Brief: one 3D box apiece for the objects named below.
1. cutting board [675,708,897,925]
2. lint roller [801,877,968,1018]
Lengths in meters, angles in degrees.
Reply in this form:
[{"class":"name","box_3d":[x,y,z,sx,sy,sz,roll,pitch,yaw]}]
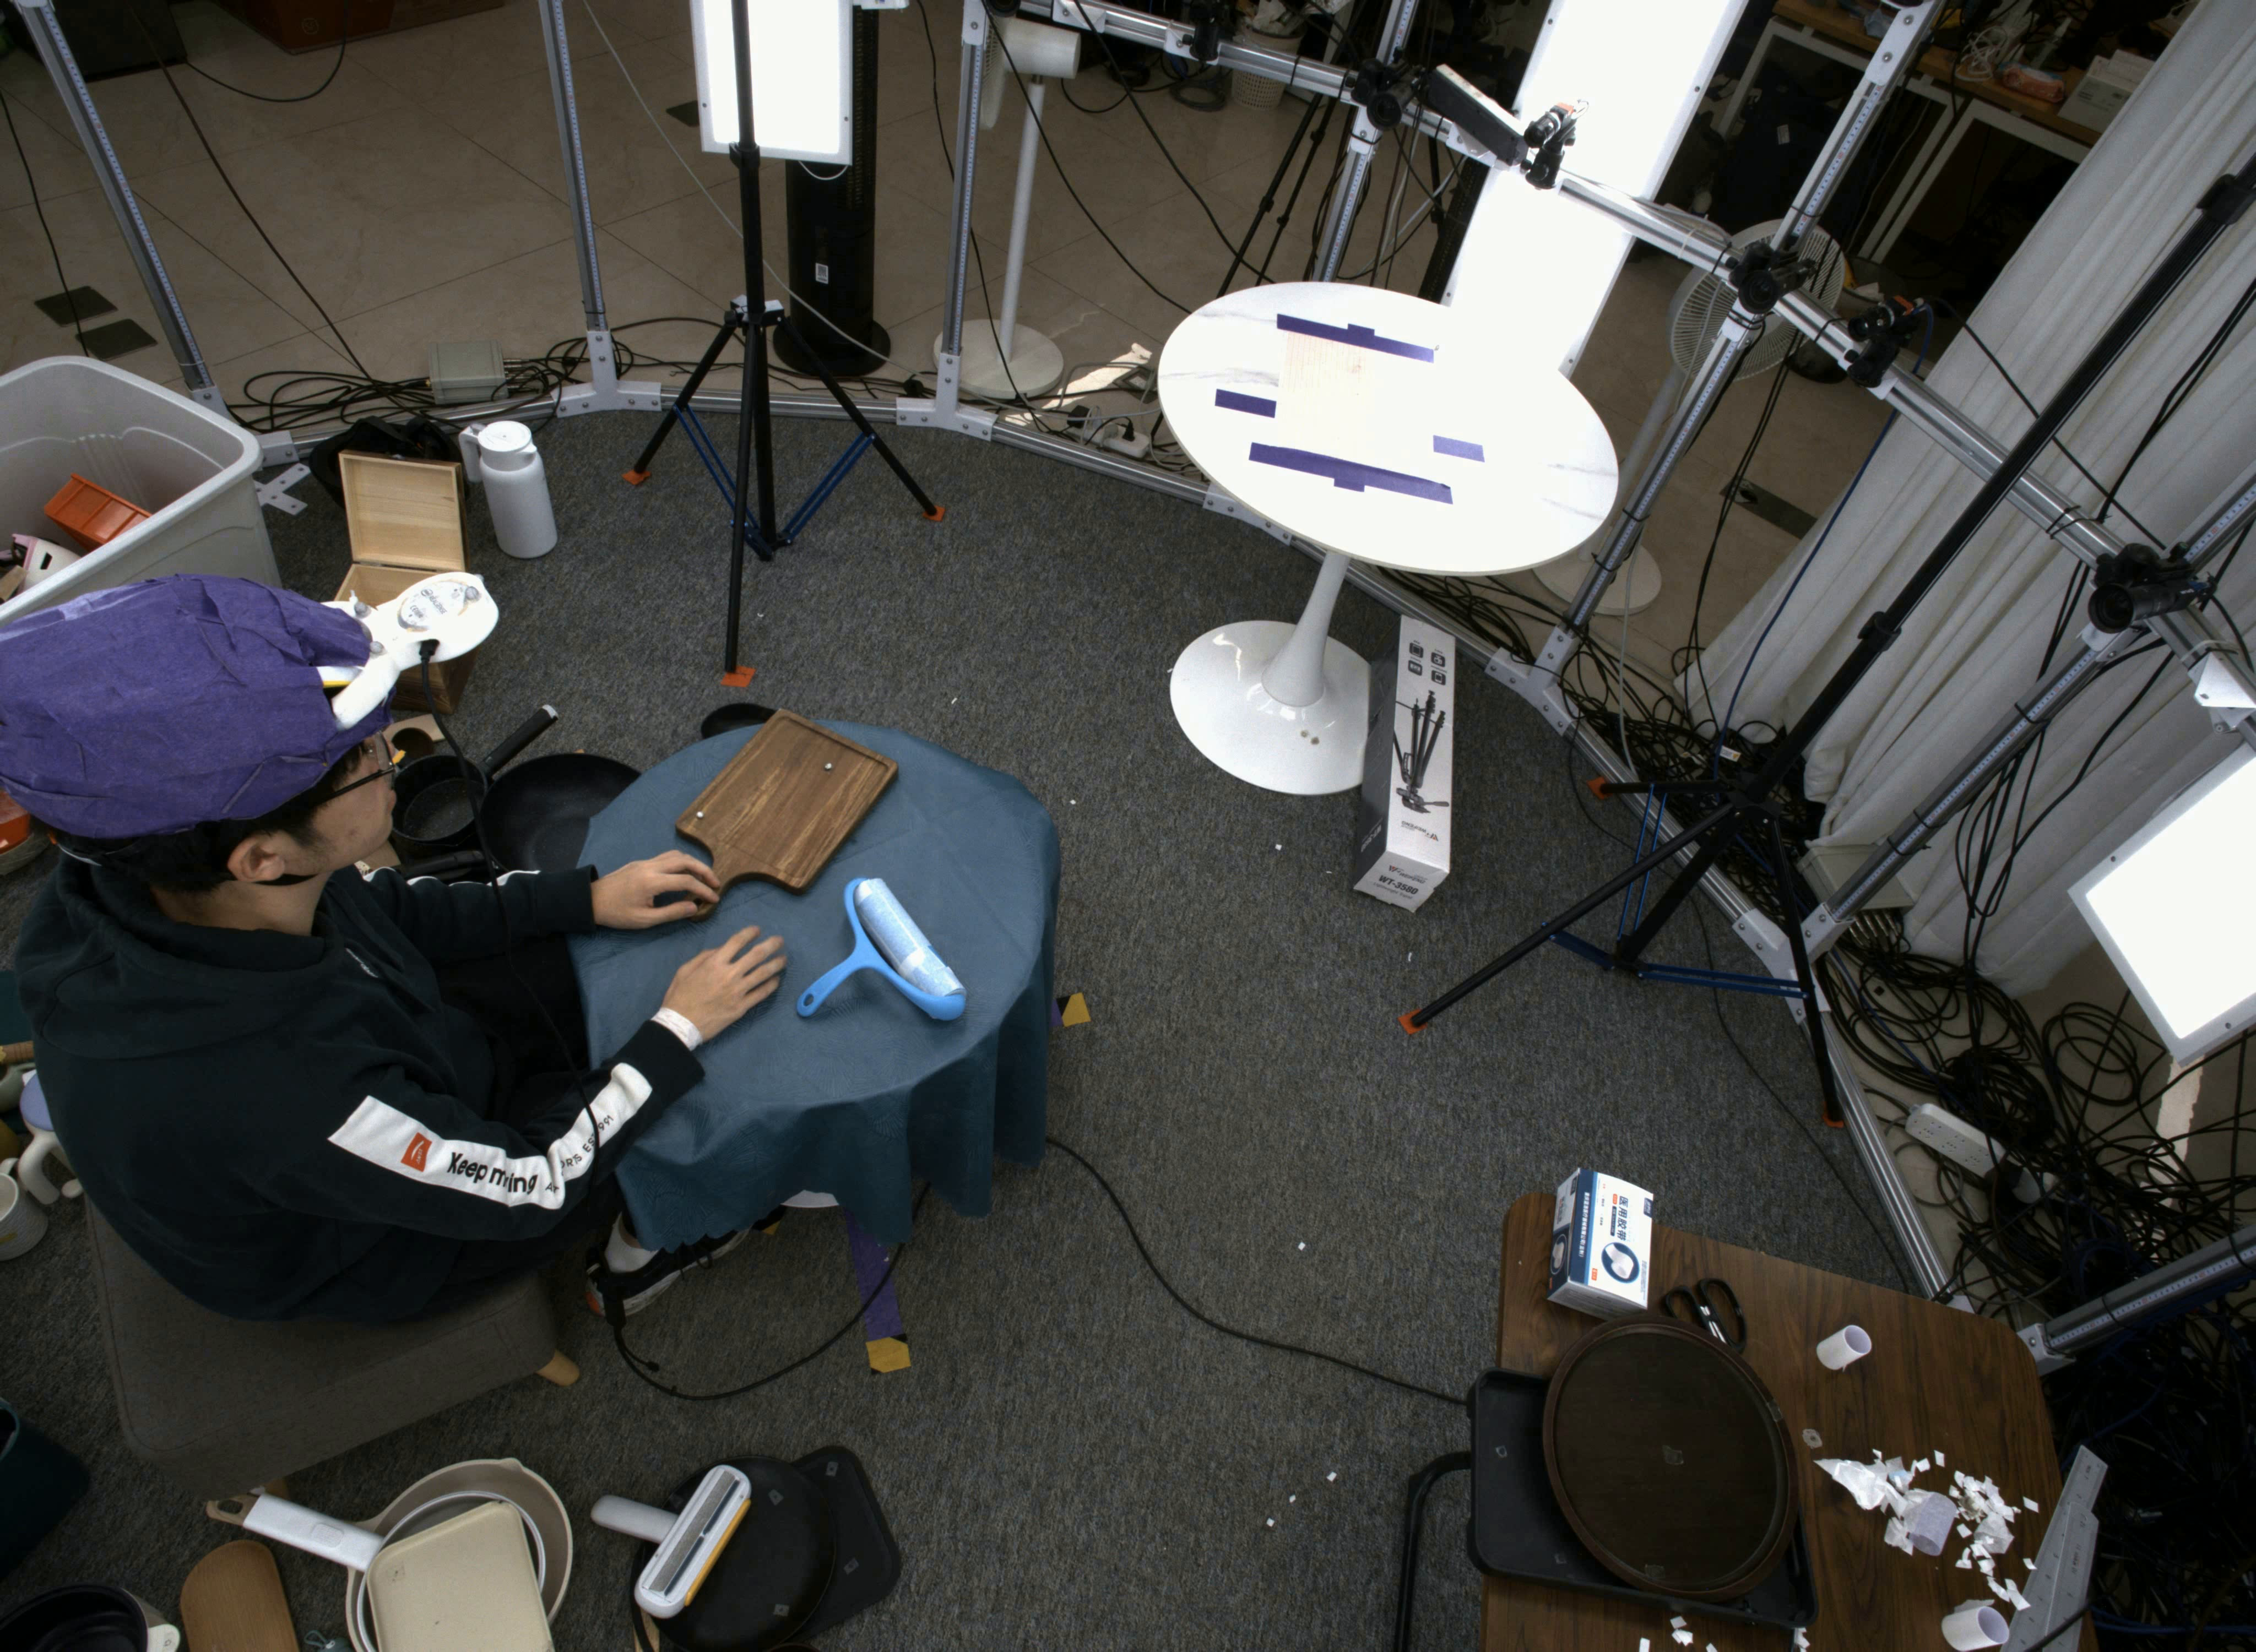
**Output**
[{"class":"cutting board","box_3d":[-0.474,-0.007,1.708,0.198,0.023,0.350,25,52,5]},{"class":"lint roller","box_3d":[-0.320,0.172,1.593,0.181,0.069,0.224,-31,68,-32]}]
